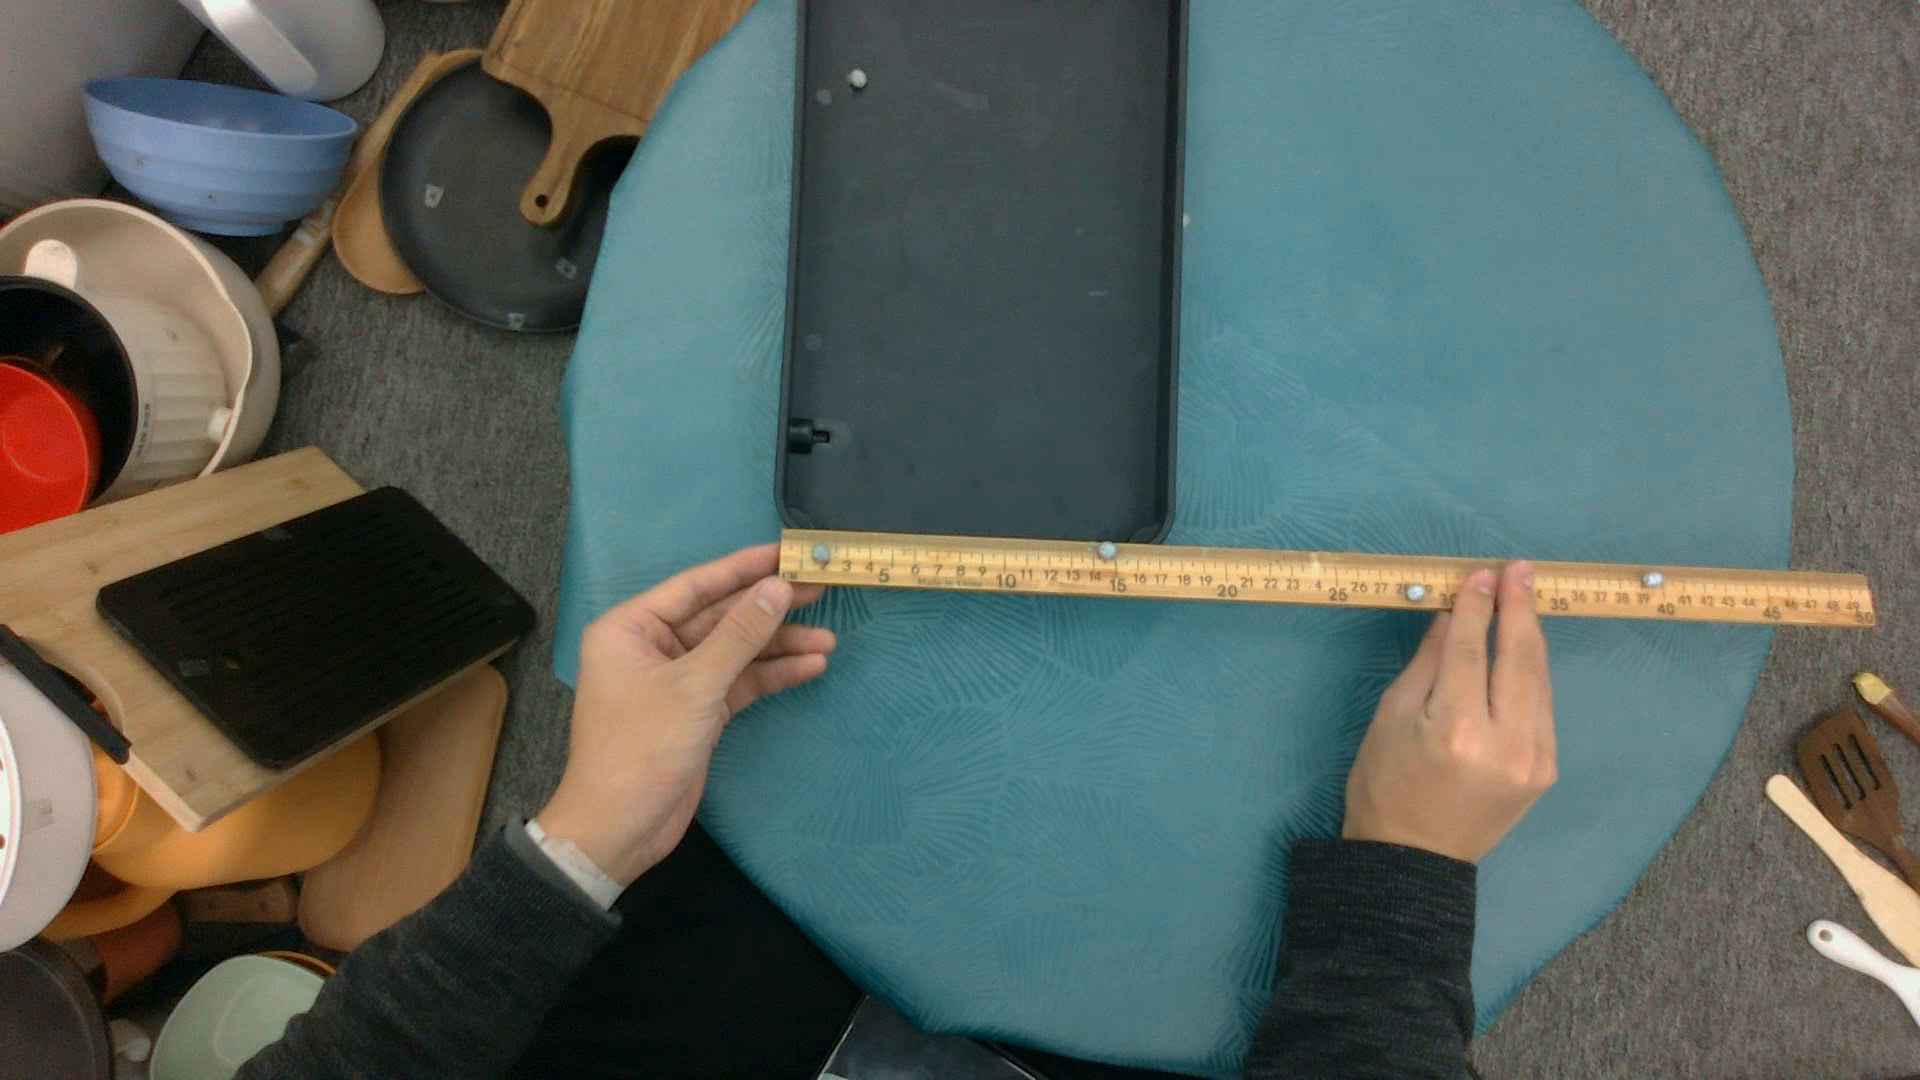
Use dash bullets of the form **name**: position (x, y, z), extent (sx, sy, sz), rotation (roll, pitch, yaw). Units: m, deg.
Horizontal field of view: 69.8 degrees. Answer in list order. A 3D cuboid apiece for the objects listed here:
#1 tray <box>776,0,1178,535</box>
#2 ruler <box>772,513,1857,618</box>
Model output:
- **tray**: position (0.010, -0.161, 0.651), extent (0.184, 0.037, 0.318), rotation (1, 85, -4)
- **ruler**: position (0.166, 0.013, 0.623), extent (0.500, 0.006, 0.027), rotation (3, 73, -4)
